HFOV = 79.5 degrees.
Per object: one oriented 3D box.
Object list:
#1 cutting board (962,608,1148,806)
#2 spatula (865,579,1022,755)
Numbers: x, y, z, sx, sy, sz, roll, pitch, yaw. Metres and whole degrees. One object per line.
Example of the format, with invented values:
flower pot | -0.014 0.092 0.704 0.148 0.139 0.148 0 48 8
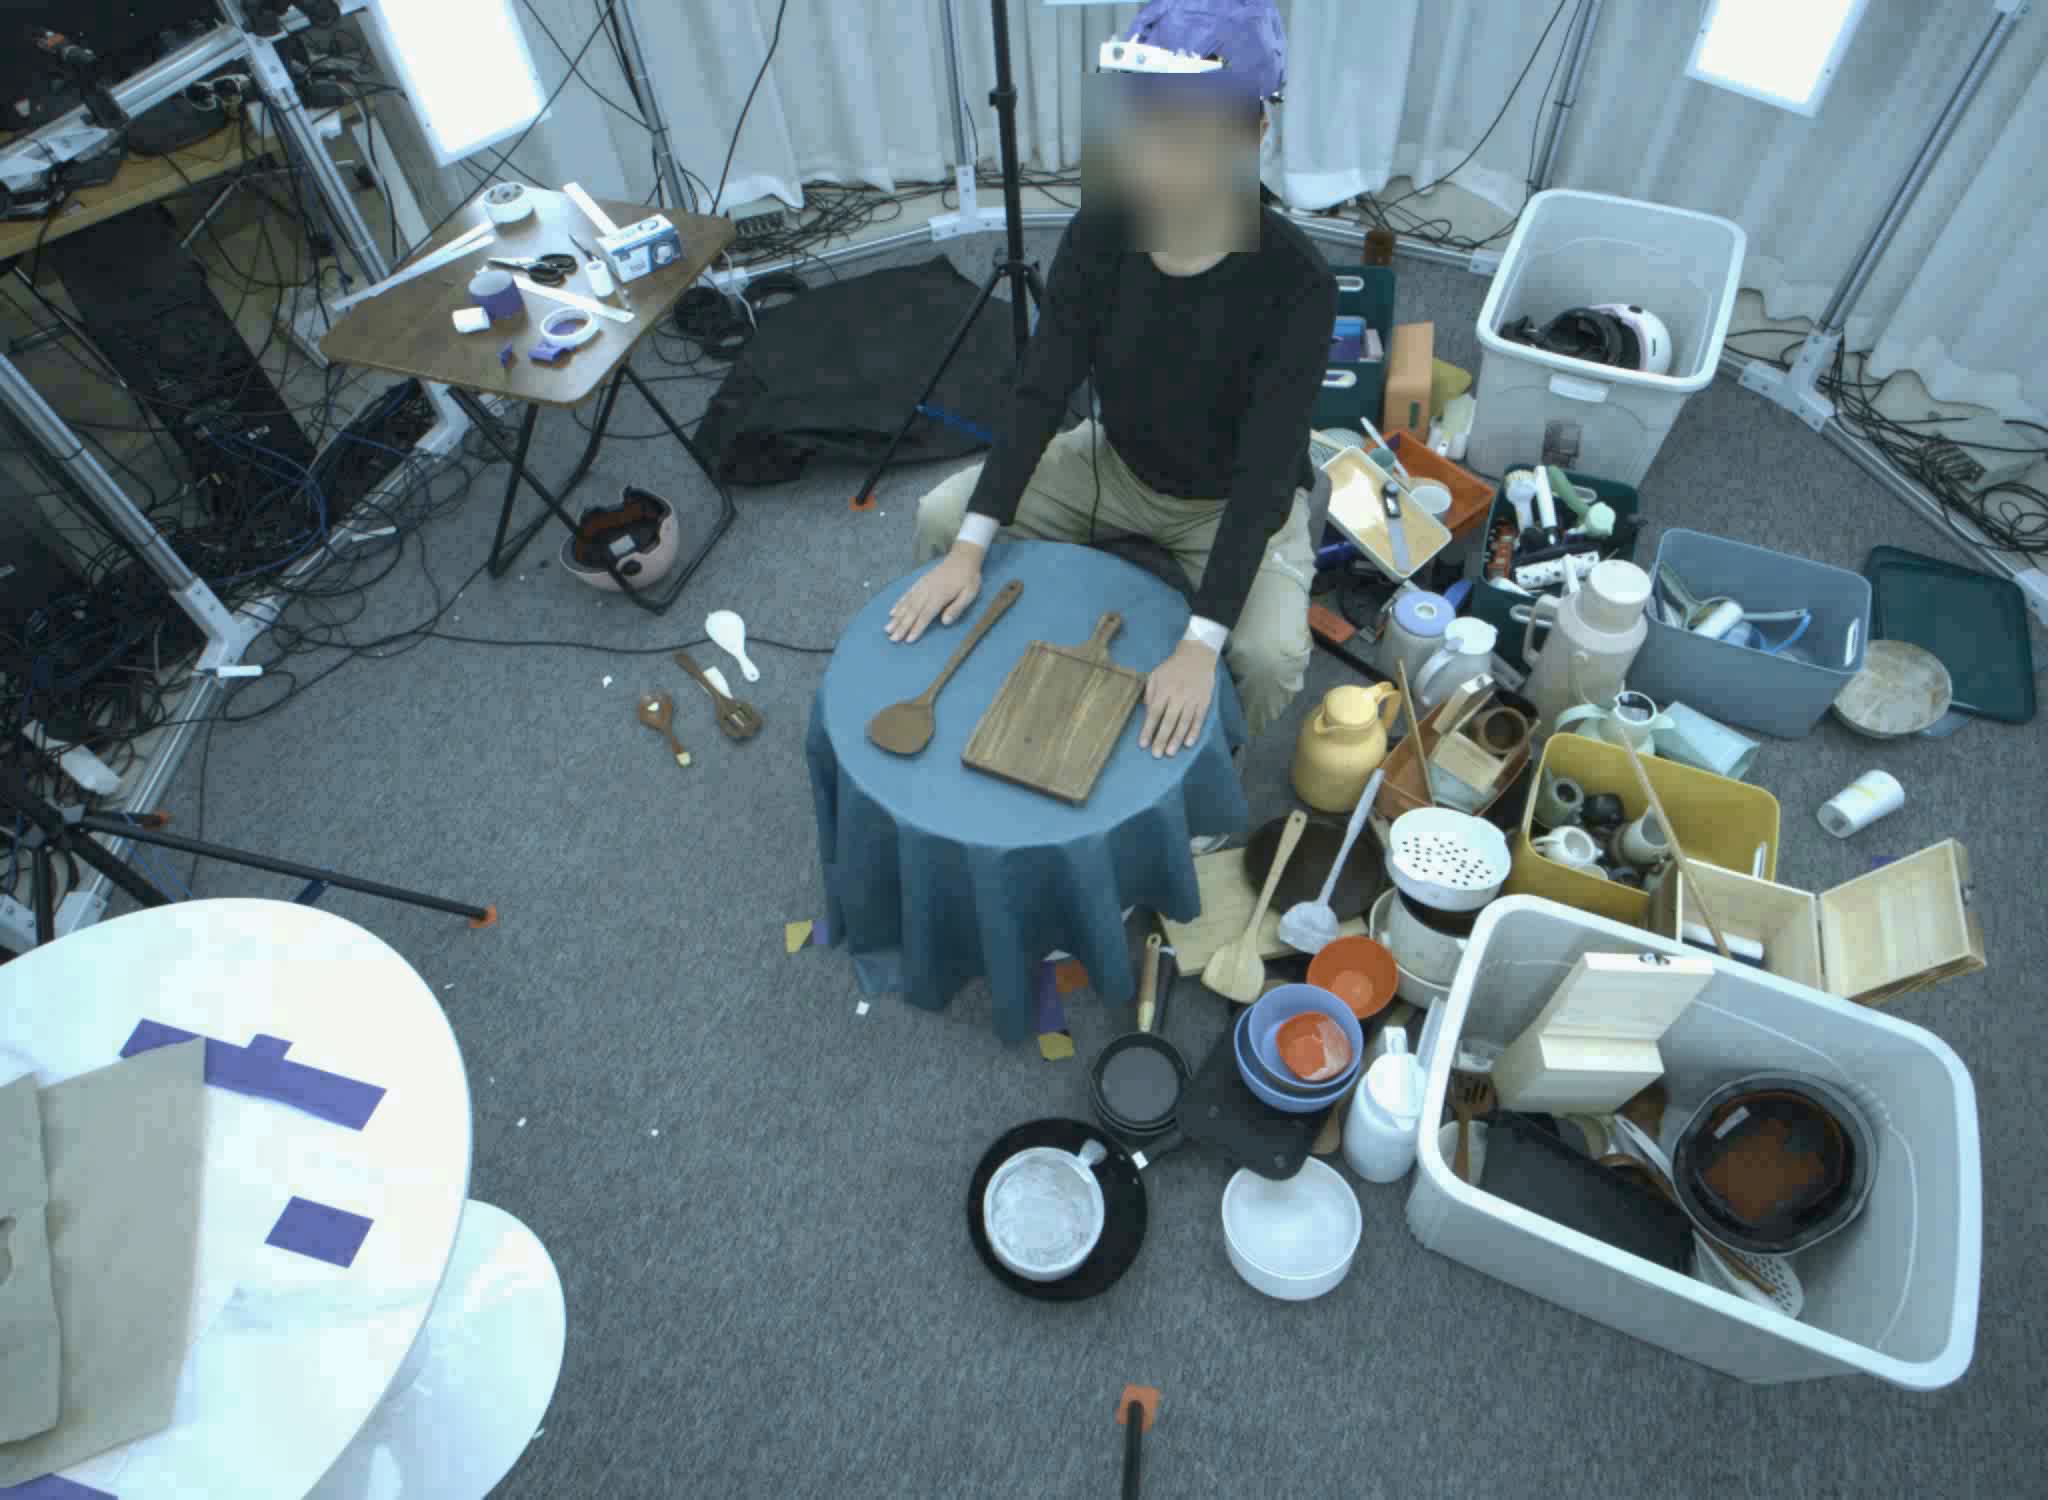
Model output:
cutting board | 0.069 -0.083 1.832 0.199 0.023 0.352 20 58 15
spatula | -0.106 -0.139 1.880 0.095 0.016 0.387 25 59 17
